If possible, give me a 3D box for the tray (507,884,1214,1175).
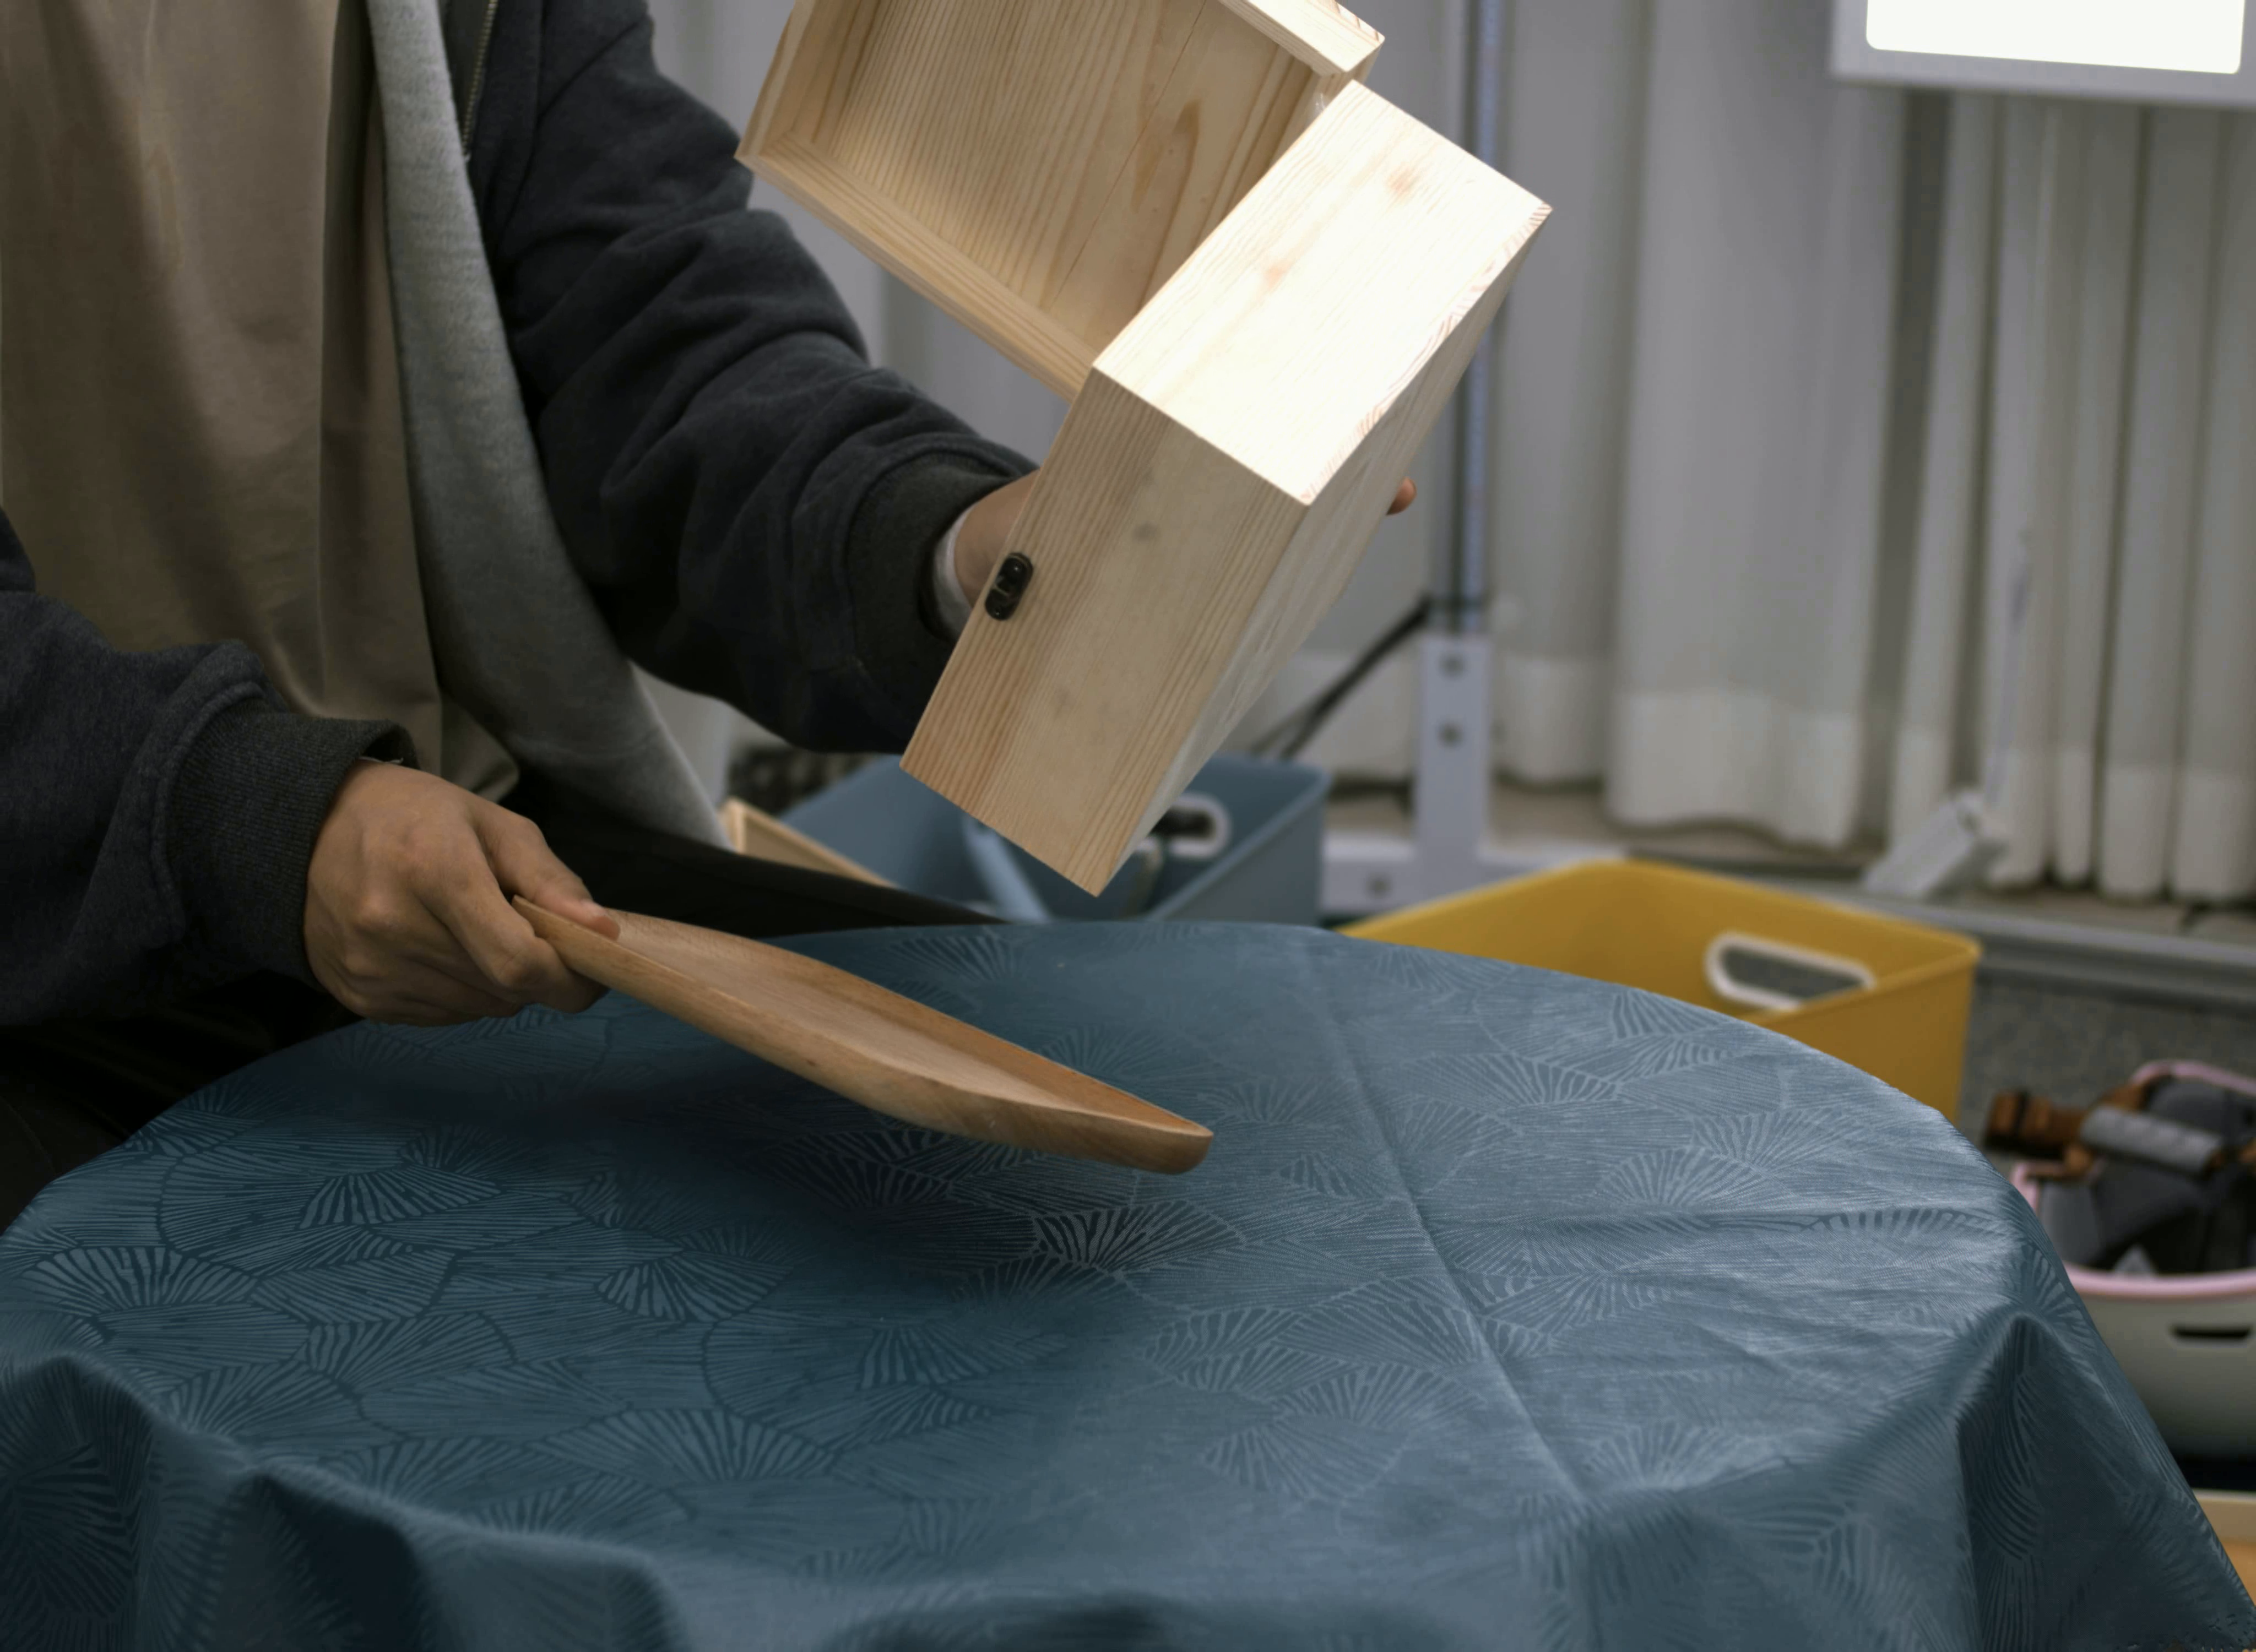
[{"bbox_3d":[-0.087,0.062,1.621,0.132,0.023,0.247,17,2,-39],"label":"tray"}]

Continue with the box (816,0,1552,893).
[{"bbox_3d":[-0.025,-0.169,1.643,0.252,0.183,0.264,32,44,7],"label":"box"}]
